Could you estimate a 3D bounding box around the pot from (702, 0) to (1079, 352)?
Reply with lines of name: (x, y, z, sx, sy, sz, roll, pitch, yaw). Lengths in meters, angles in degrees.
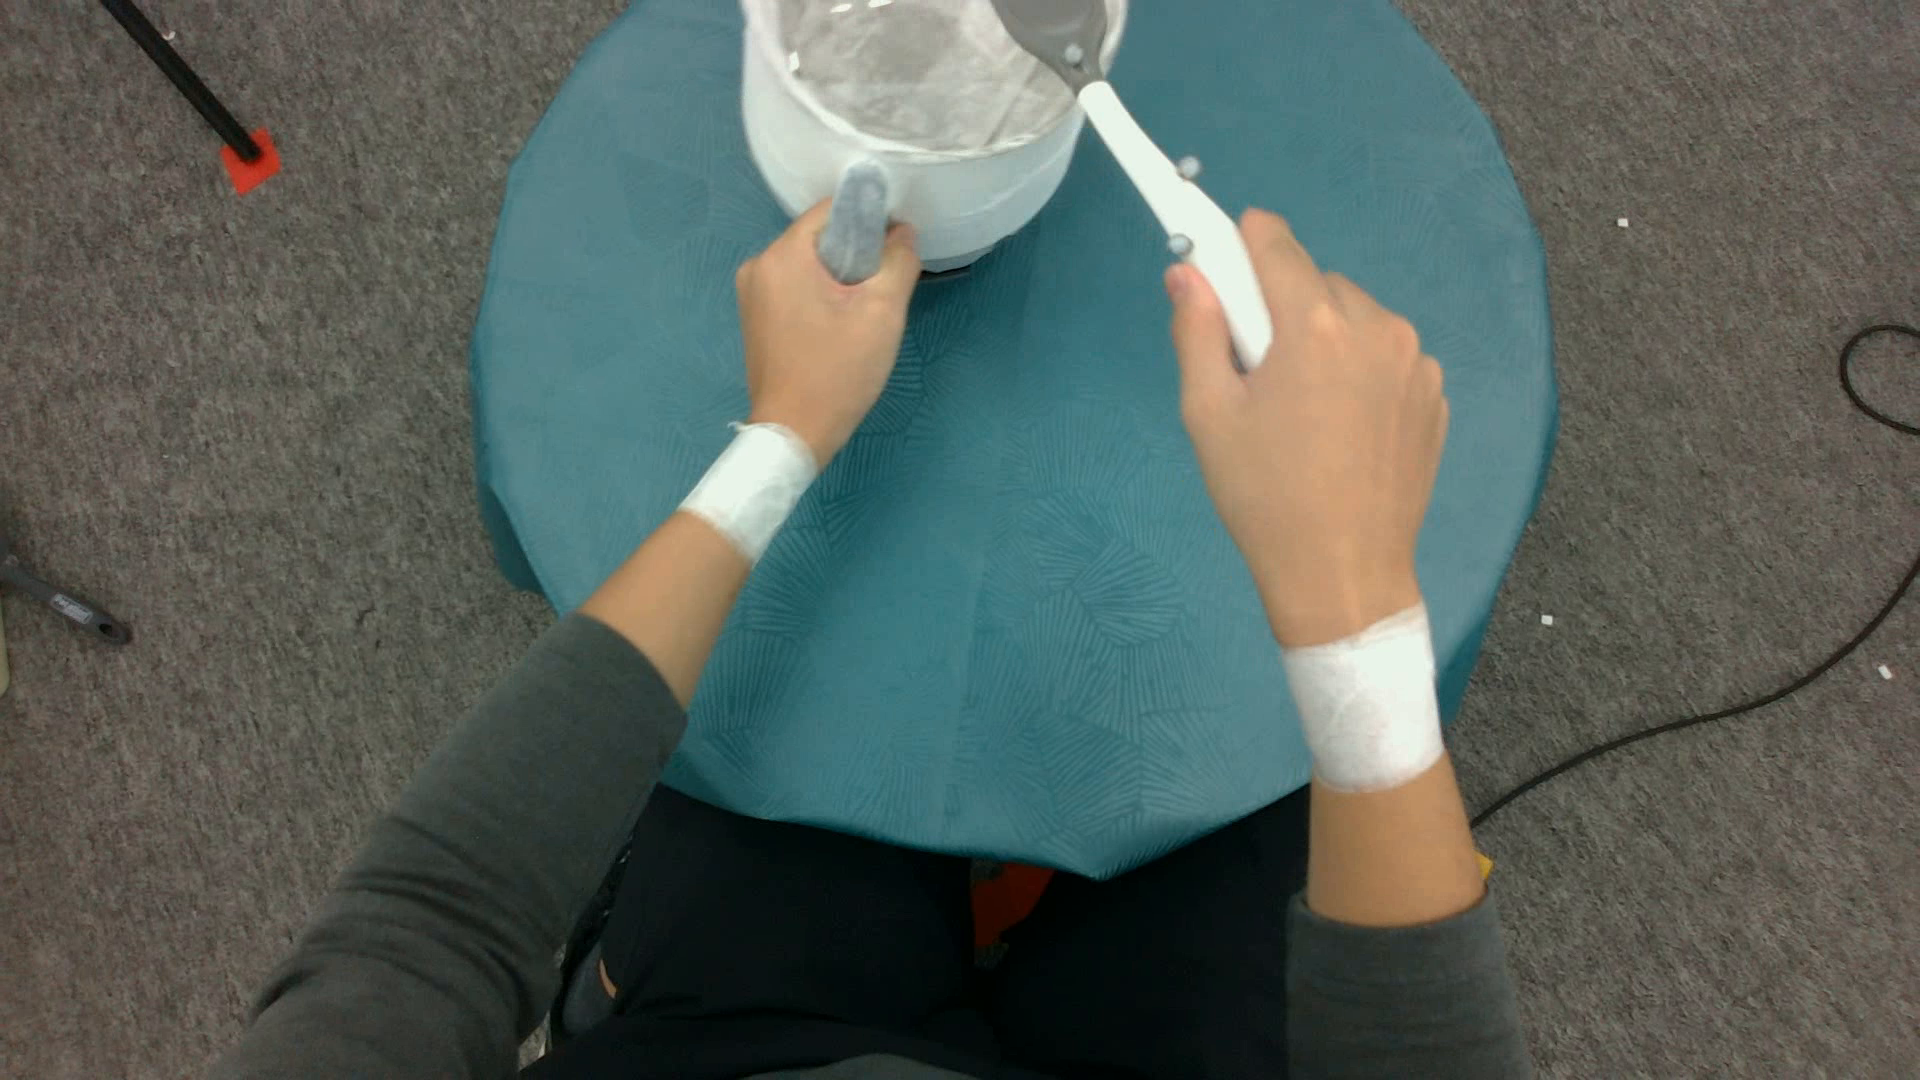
pot: (-0.045, -0.215, 0.688, 0.179, 0.136, 0.234, 14, 73, -2)

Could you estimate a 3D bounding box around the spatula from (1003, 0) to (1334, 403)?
spatula: (0.072, -0.178, 0.571, 0.059, 0.032, 0.288, -19, 63, -10)
